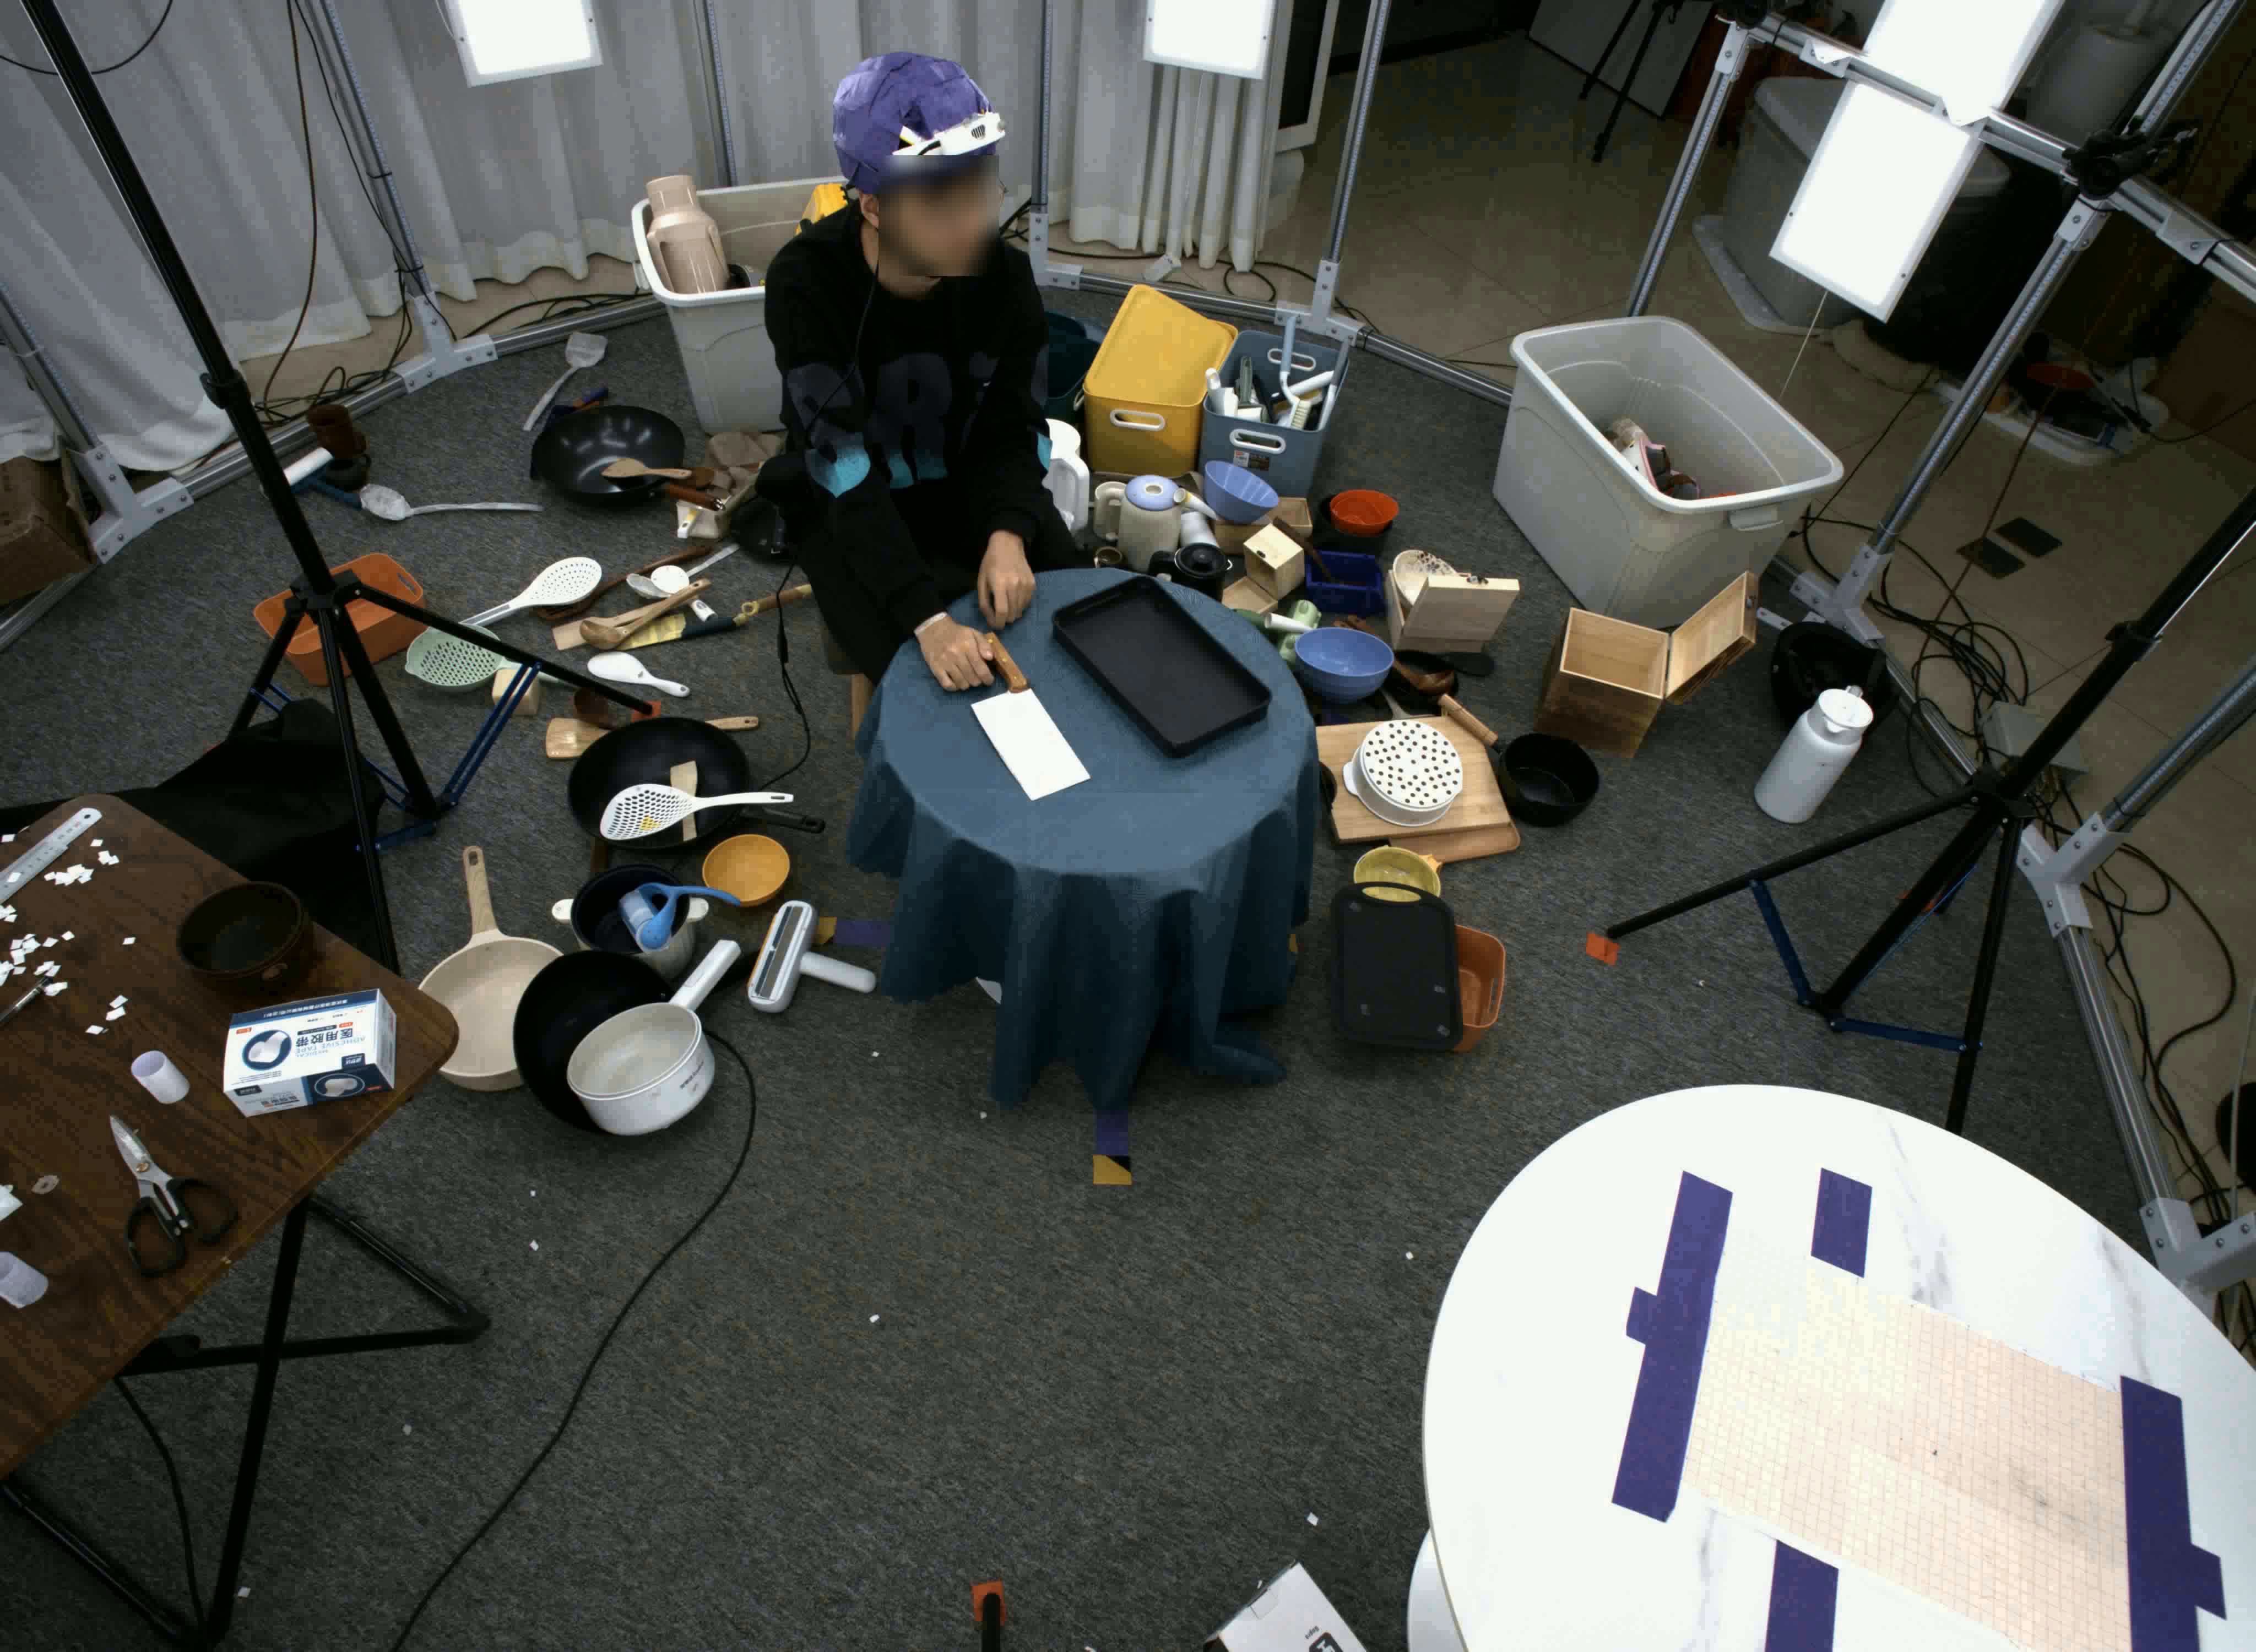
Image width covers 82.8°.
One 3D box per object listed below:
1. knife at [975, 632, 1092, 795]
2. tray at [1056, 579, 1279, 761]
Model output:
[{"bbox_3d":[-0.157,-0.158,1.786,0.093,0.020,0.312,-21,56,-19],"label":"knife"},{"bbox_3d":[0.052,-0.231,1.849,0.185,0.036,0.324,-28,56,-24],"label":"tray"}]
